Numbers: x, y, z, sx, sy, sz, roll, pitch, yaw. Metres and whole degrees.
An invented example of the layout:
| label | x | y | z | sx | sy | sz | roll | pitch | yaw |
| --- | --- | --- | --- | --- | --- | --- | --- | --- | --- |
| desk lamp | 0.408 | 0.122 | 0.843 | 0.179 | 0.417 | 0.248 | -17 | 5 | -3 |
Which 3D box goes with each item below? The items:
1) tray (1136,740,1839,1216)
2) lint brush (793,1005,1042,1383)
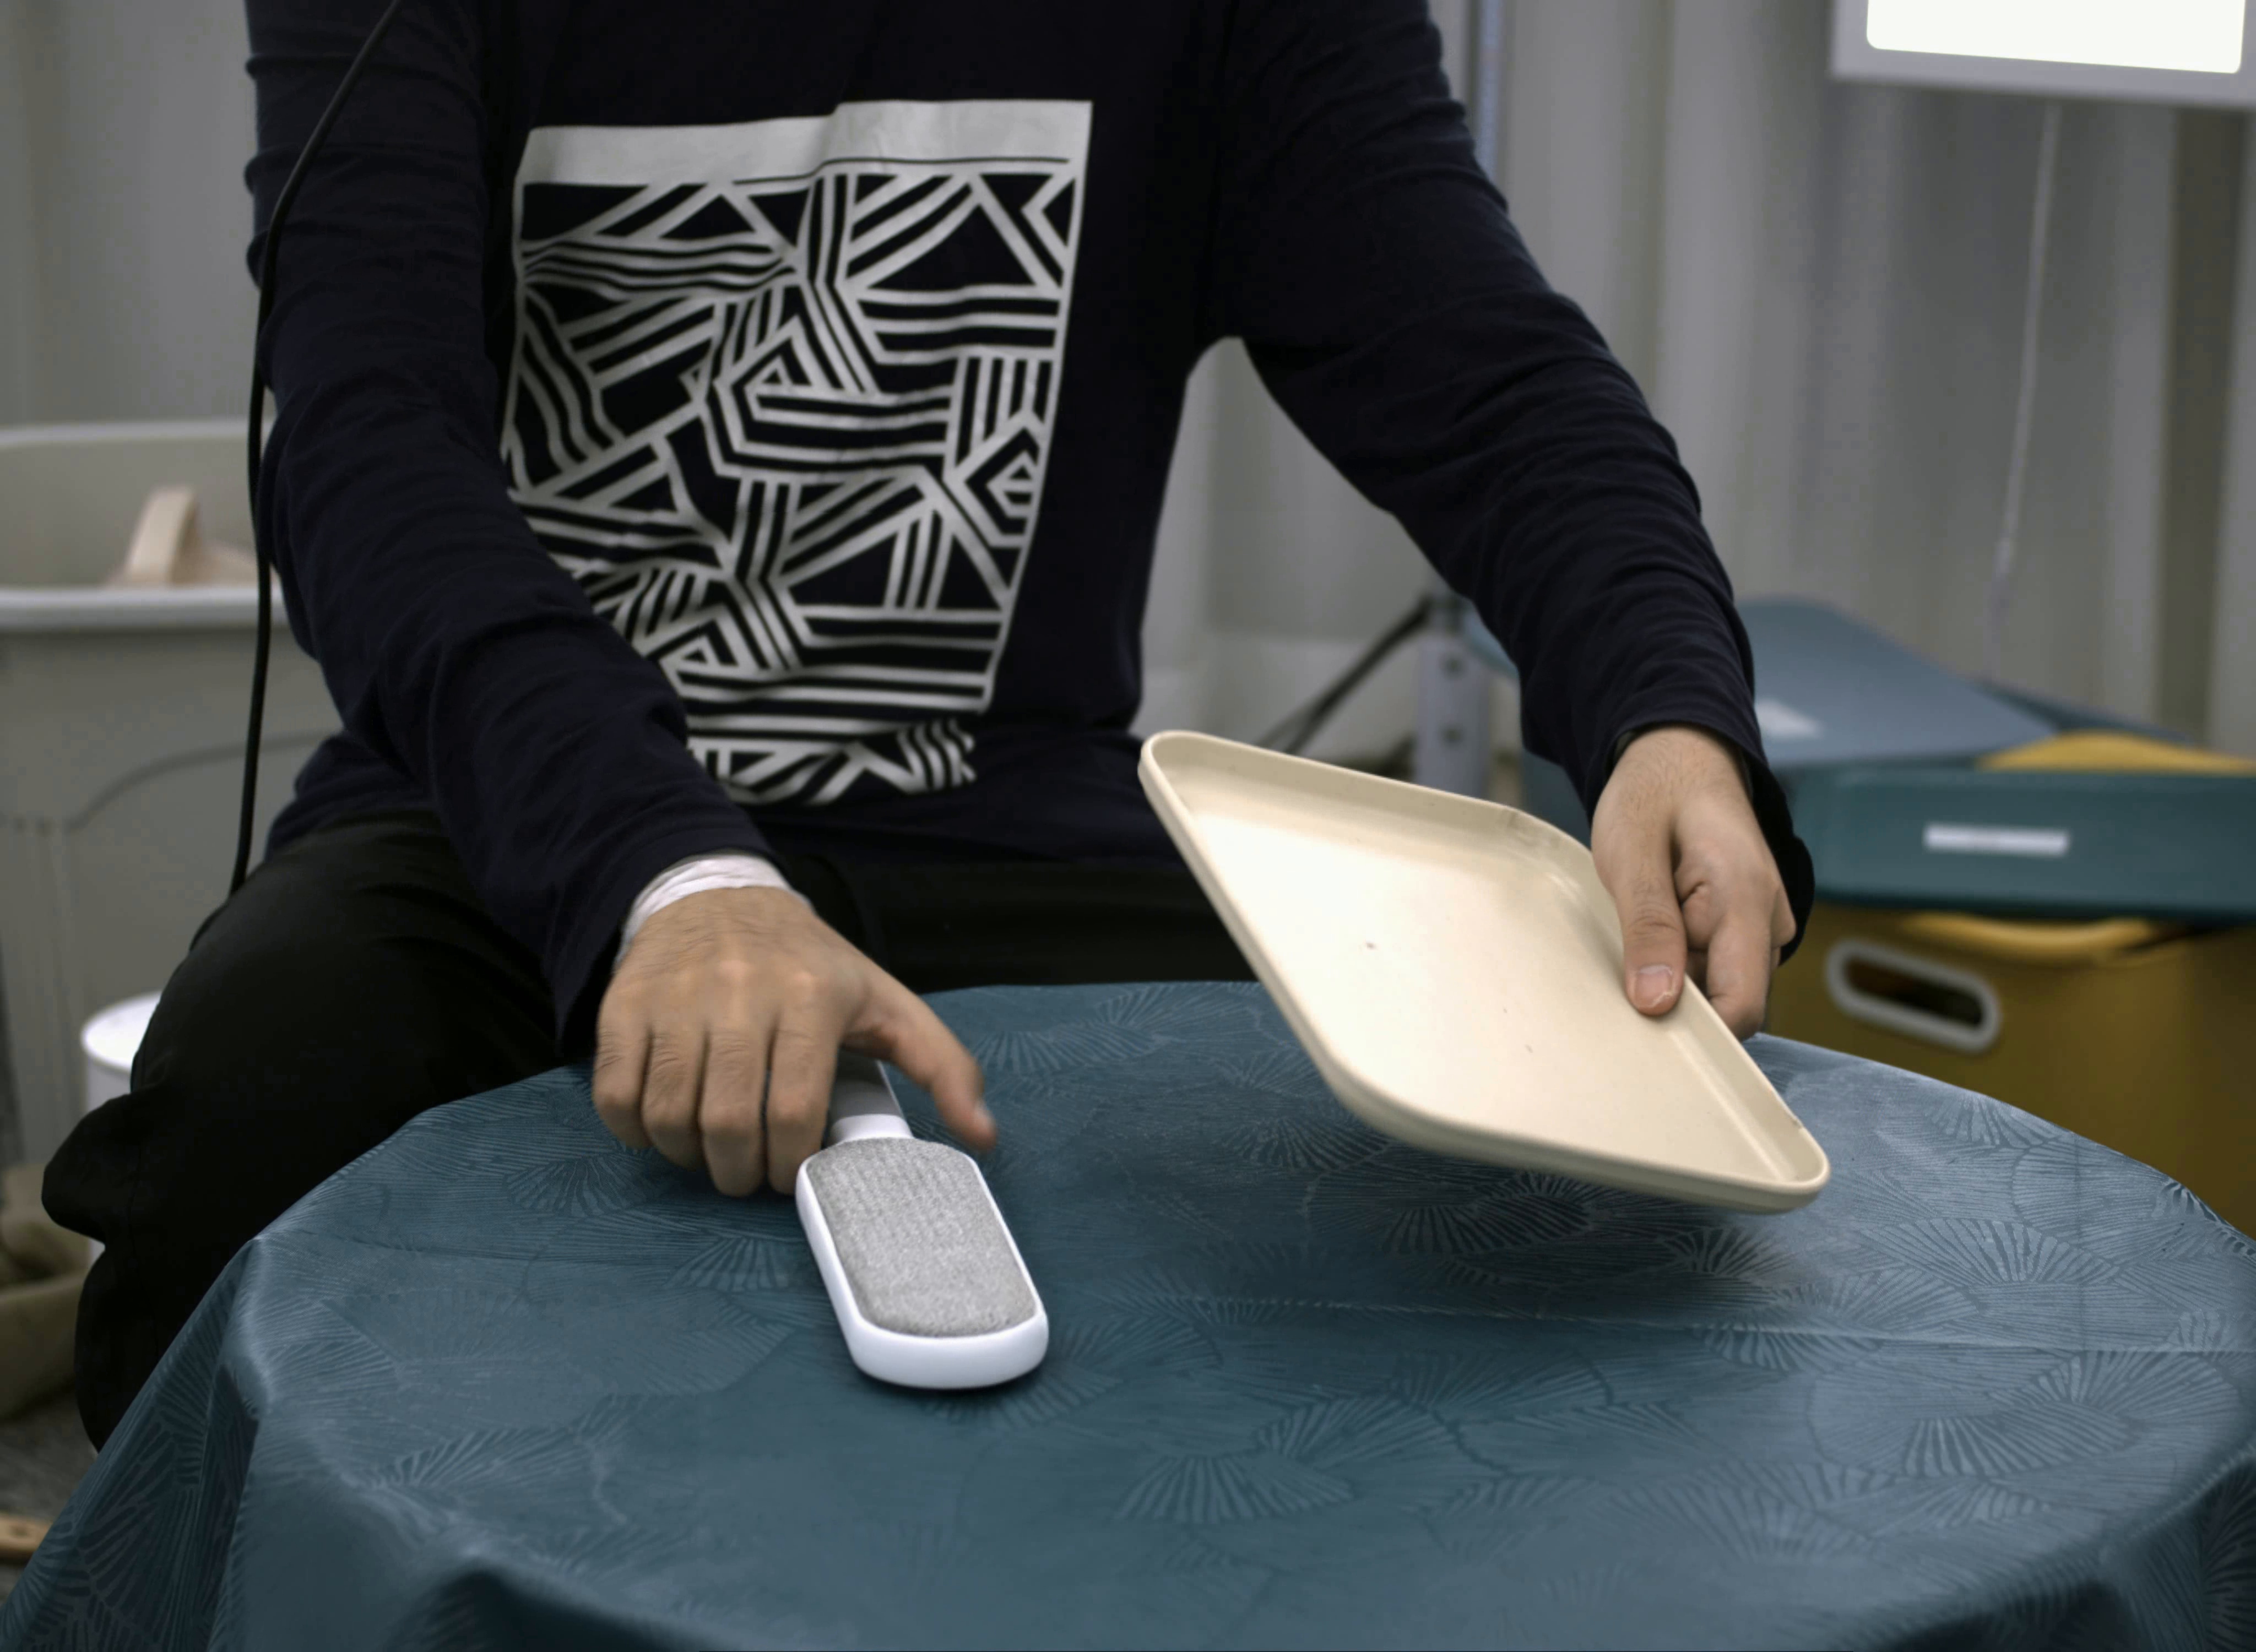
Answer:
| label | x | y | z | sx | sy | sz | roll | pitch | yaw |
| --- | --- | --- | --- | --- | --- | --- | --- | --- | --- |
| tray | 0.104 | 0.046 | 1.603 | 0.172 | 0.017 | 0.236 | 11 | 25 | -26 |
| lint brush | -0.072 | 0.107 | 1.592 | 0.060 | 0.021 | 0.306 | -8 | 17 | -8 |
